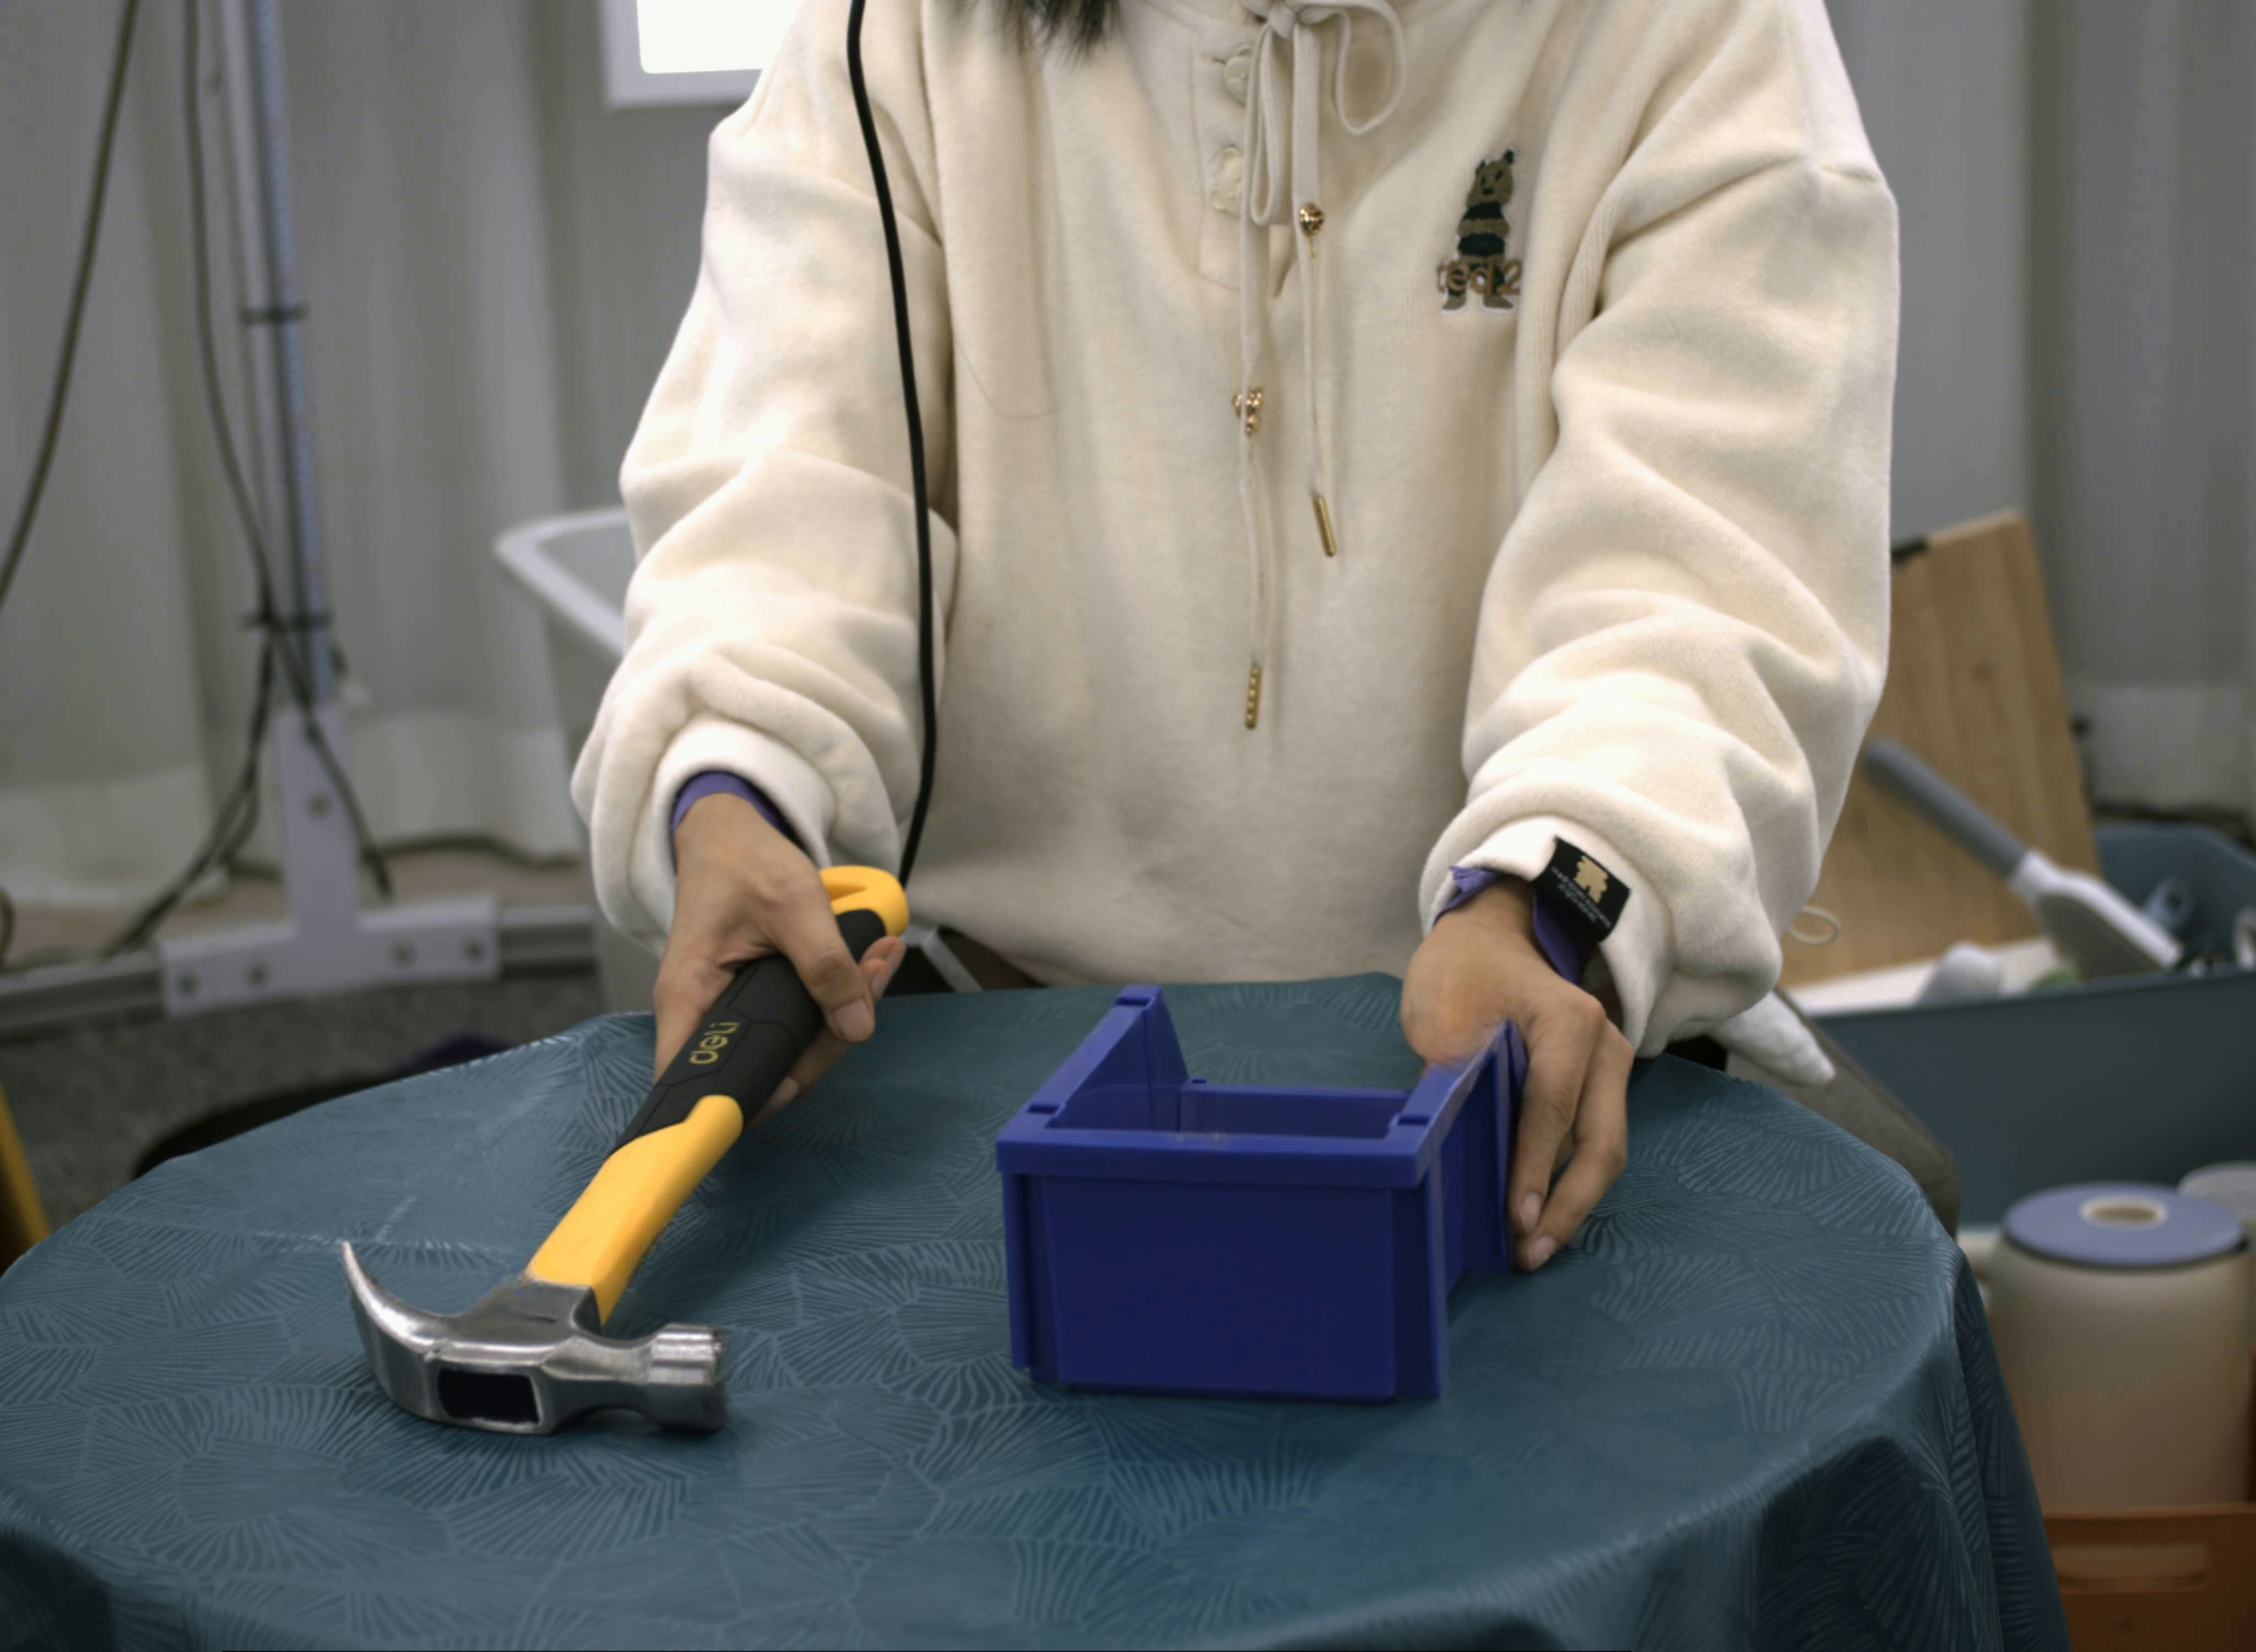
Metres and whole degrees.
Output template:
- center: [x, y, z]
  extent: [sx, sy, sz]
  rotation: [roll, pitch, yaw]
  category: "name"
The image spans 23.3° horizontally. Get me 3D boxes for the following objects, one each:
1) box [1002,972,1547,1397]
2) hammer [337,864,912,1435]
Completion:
- center: [0.045, 0.100, 1.604]
  extent: [0.124, 0.081, 0.180]
  rotation: [1, 17, 16]
  category: "box"
- center: [-0.135, 0.091, 1.679]
  extent: [0.131, 0.032, 0.341]
  rotation: [-1, 24, 18]
  category: "hammer"
